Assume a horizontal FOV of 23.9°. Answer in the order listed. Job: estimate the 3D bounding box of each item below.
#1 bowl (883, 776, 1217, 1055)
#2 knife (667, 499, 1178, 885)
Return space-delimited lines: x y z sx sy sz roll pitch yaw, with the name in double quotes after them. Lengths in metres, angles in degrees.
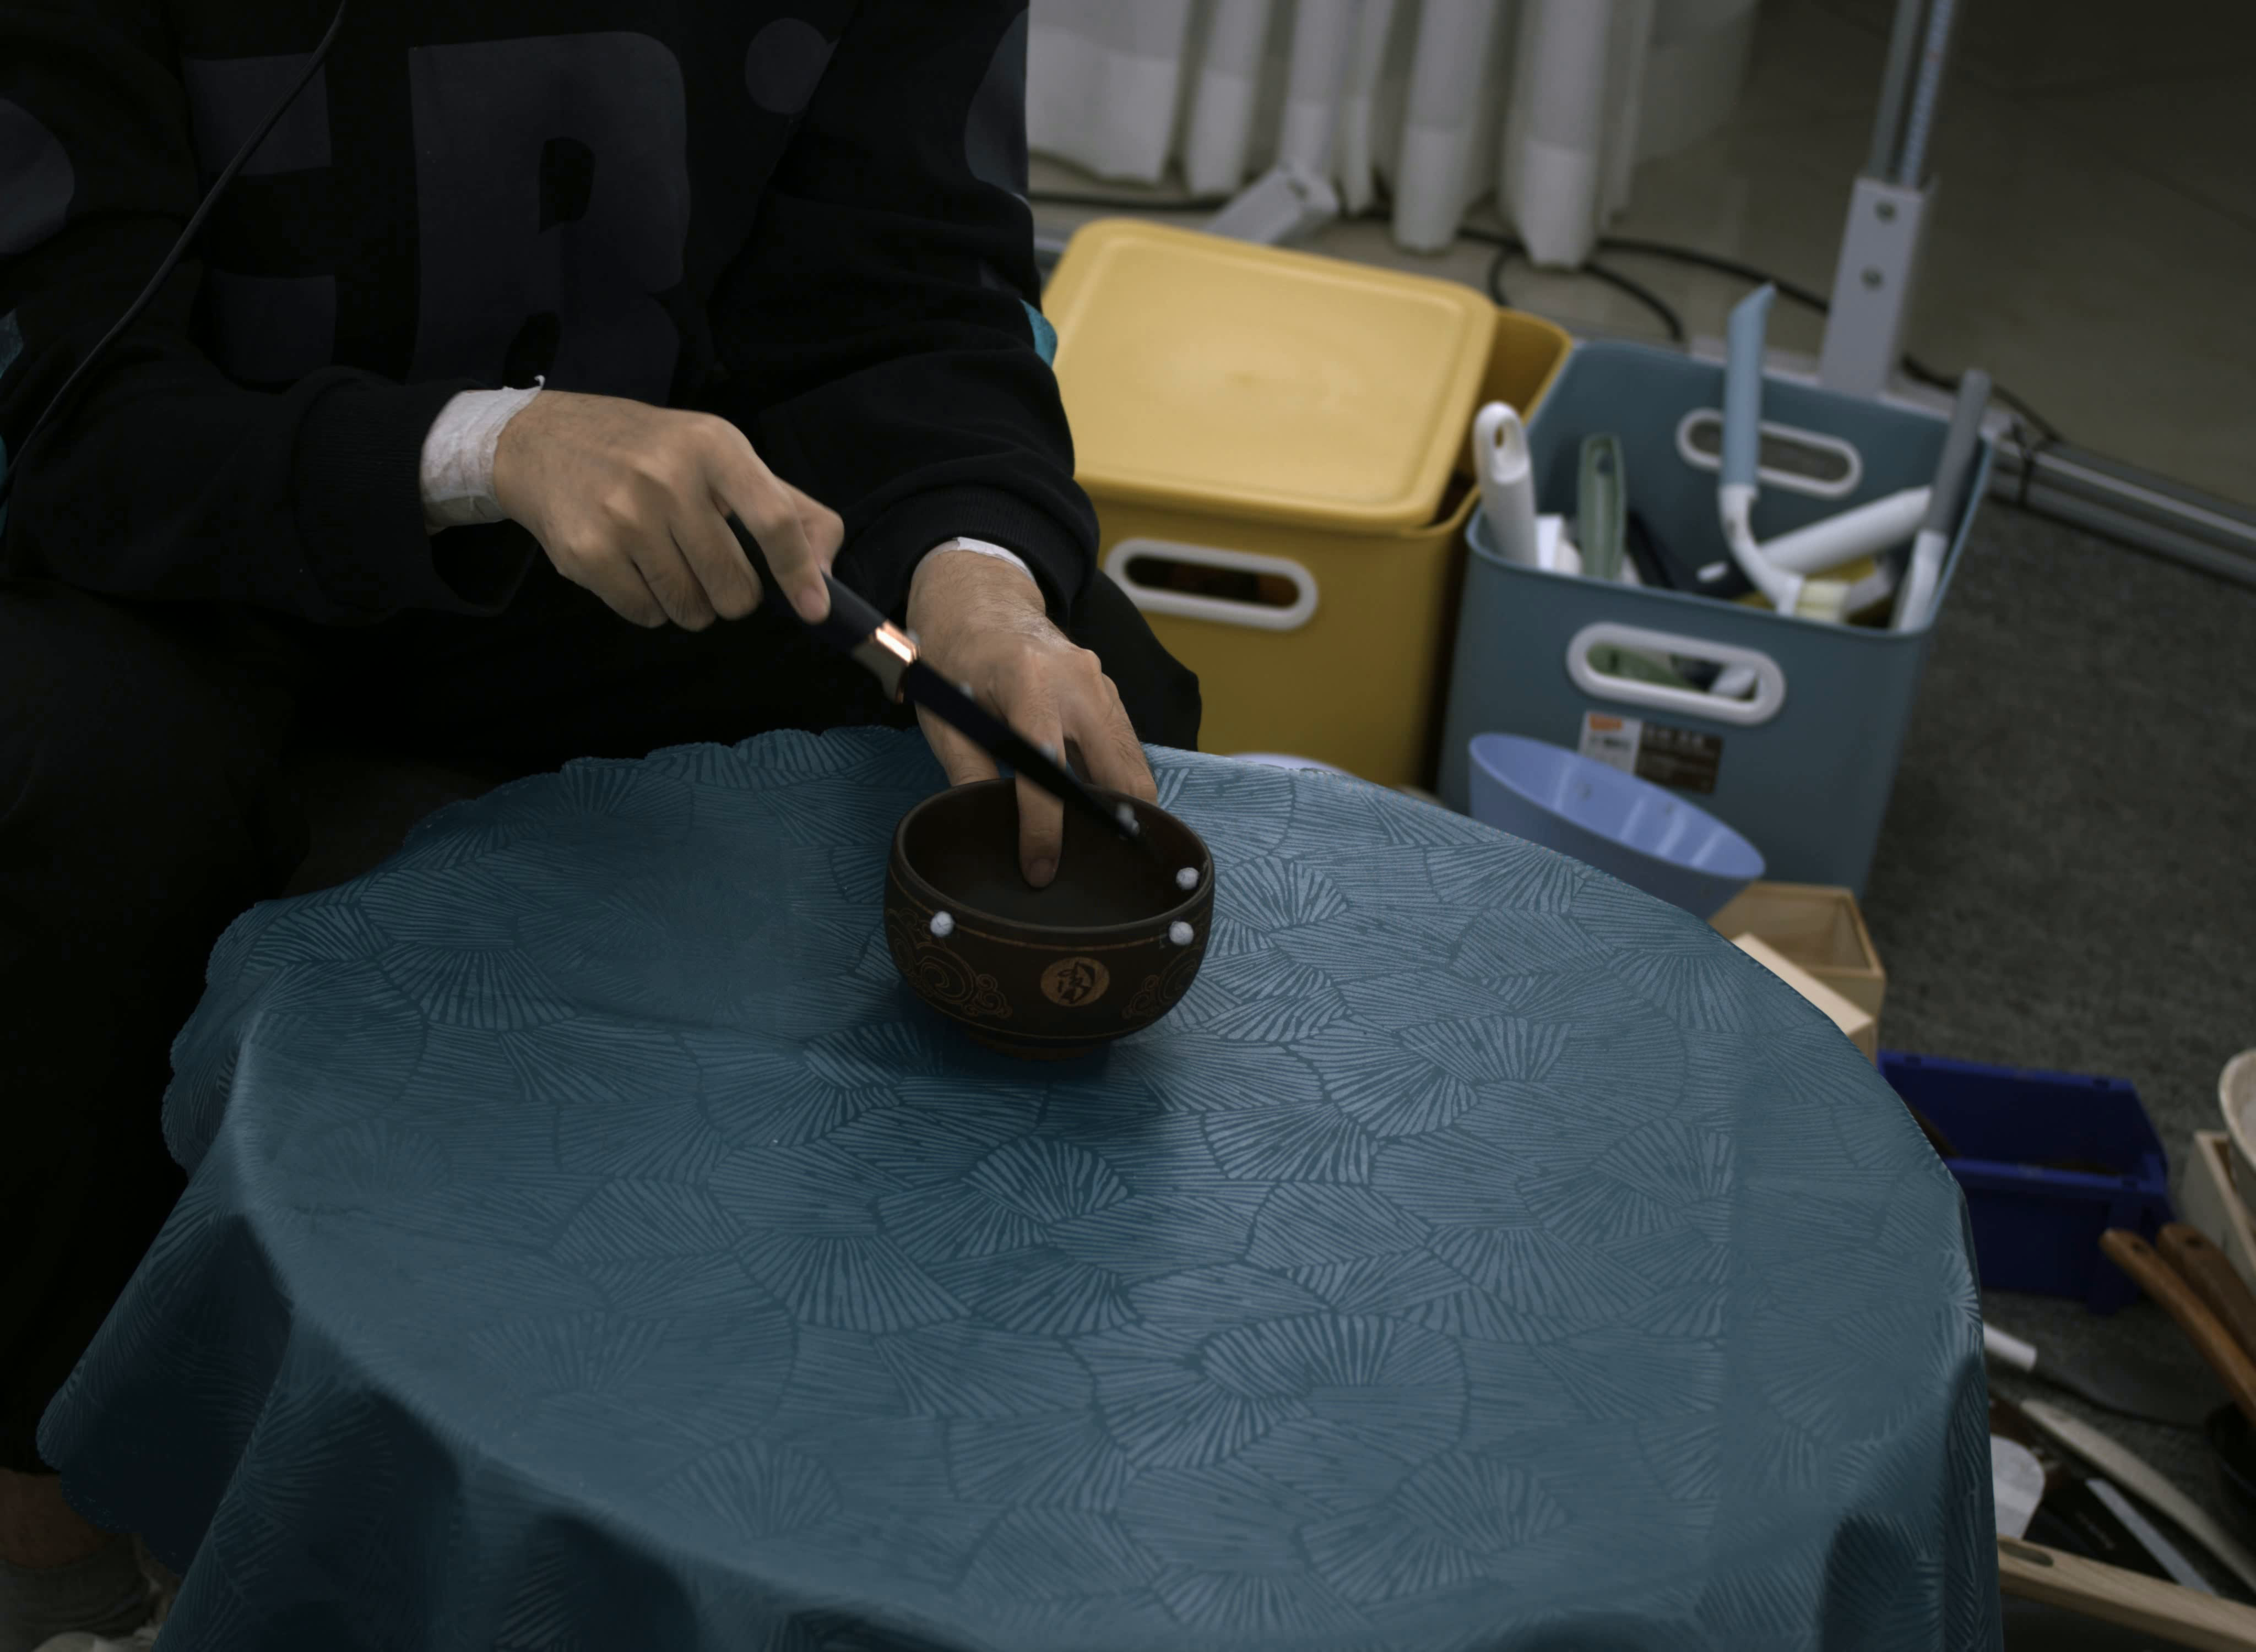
-0.029 0.038 1.881 0.117 0.069 0.118 6 25 -3 "bowl"
-0.073 -0.047 1.876 0.226 0.017 0.026 37 11 11 "knife"
